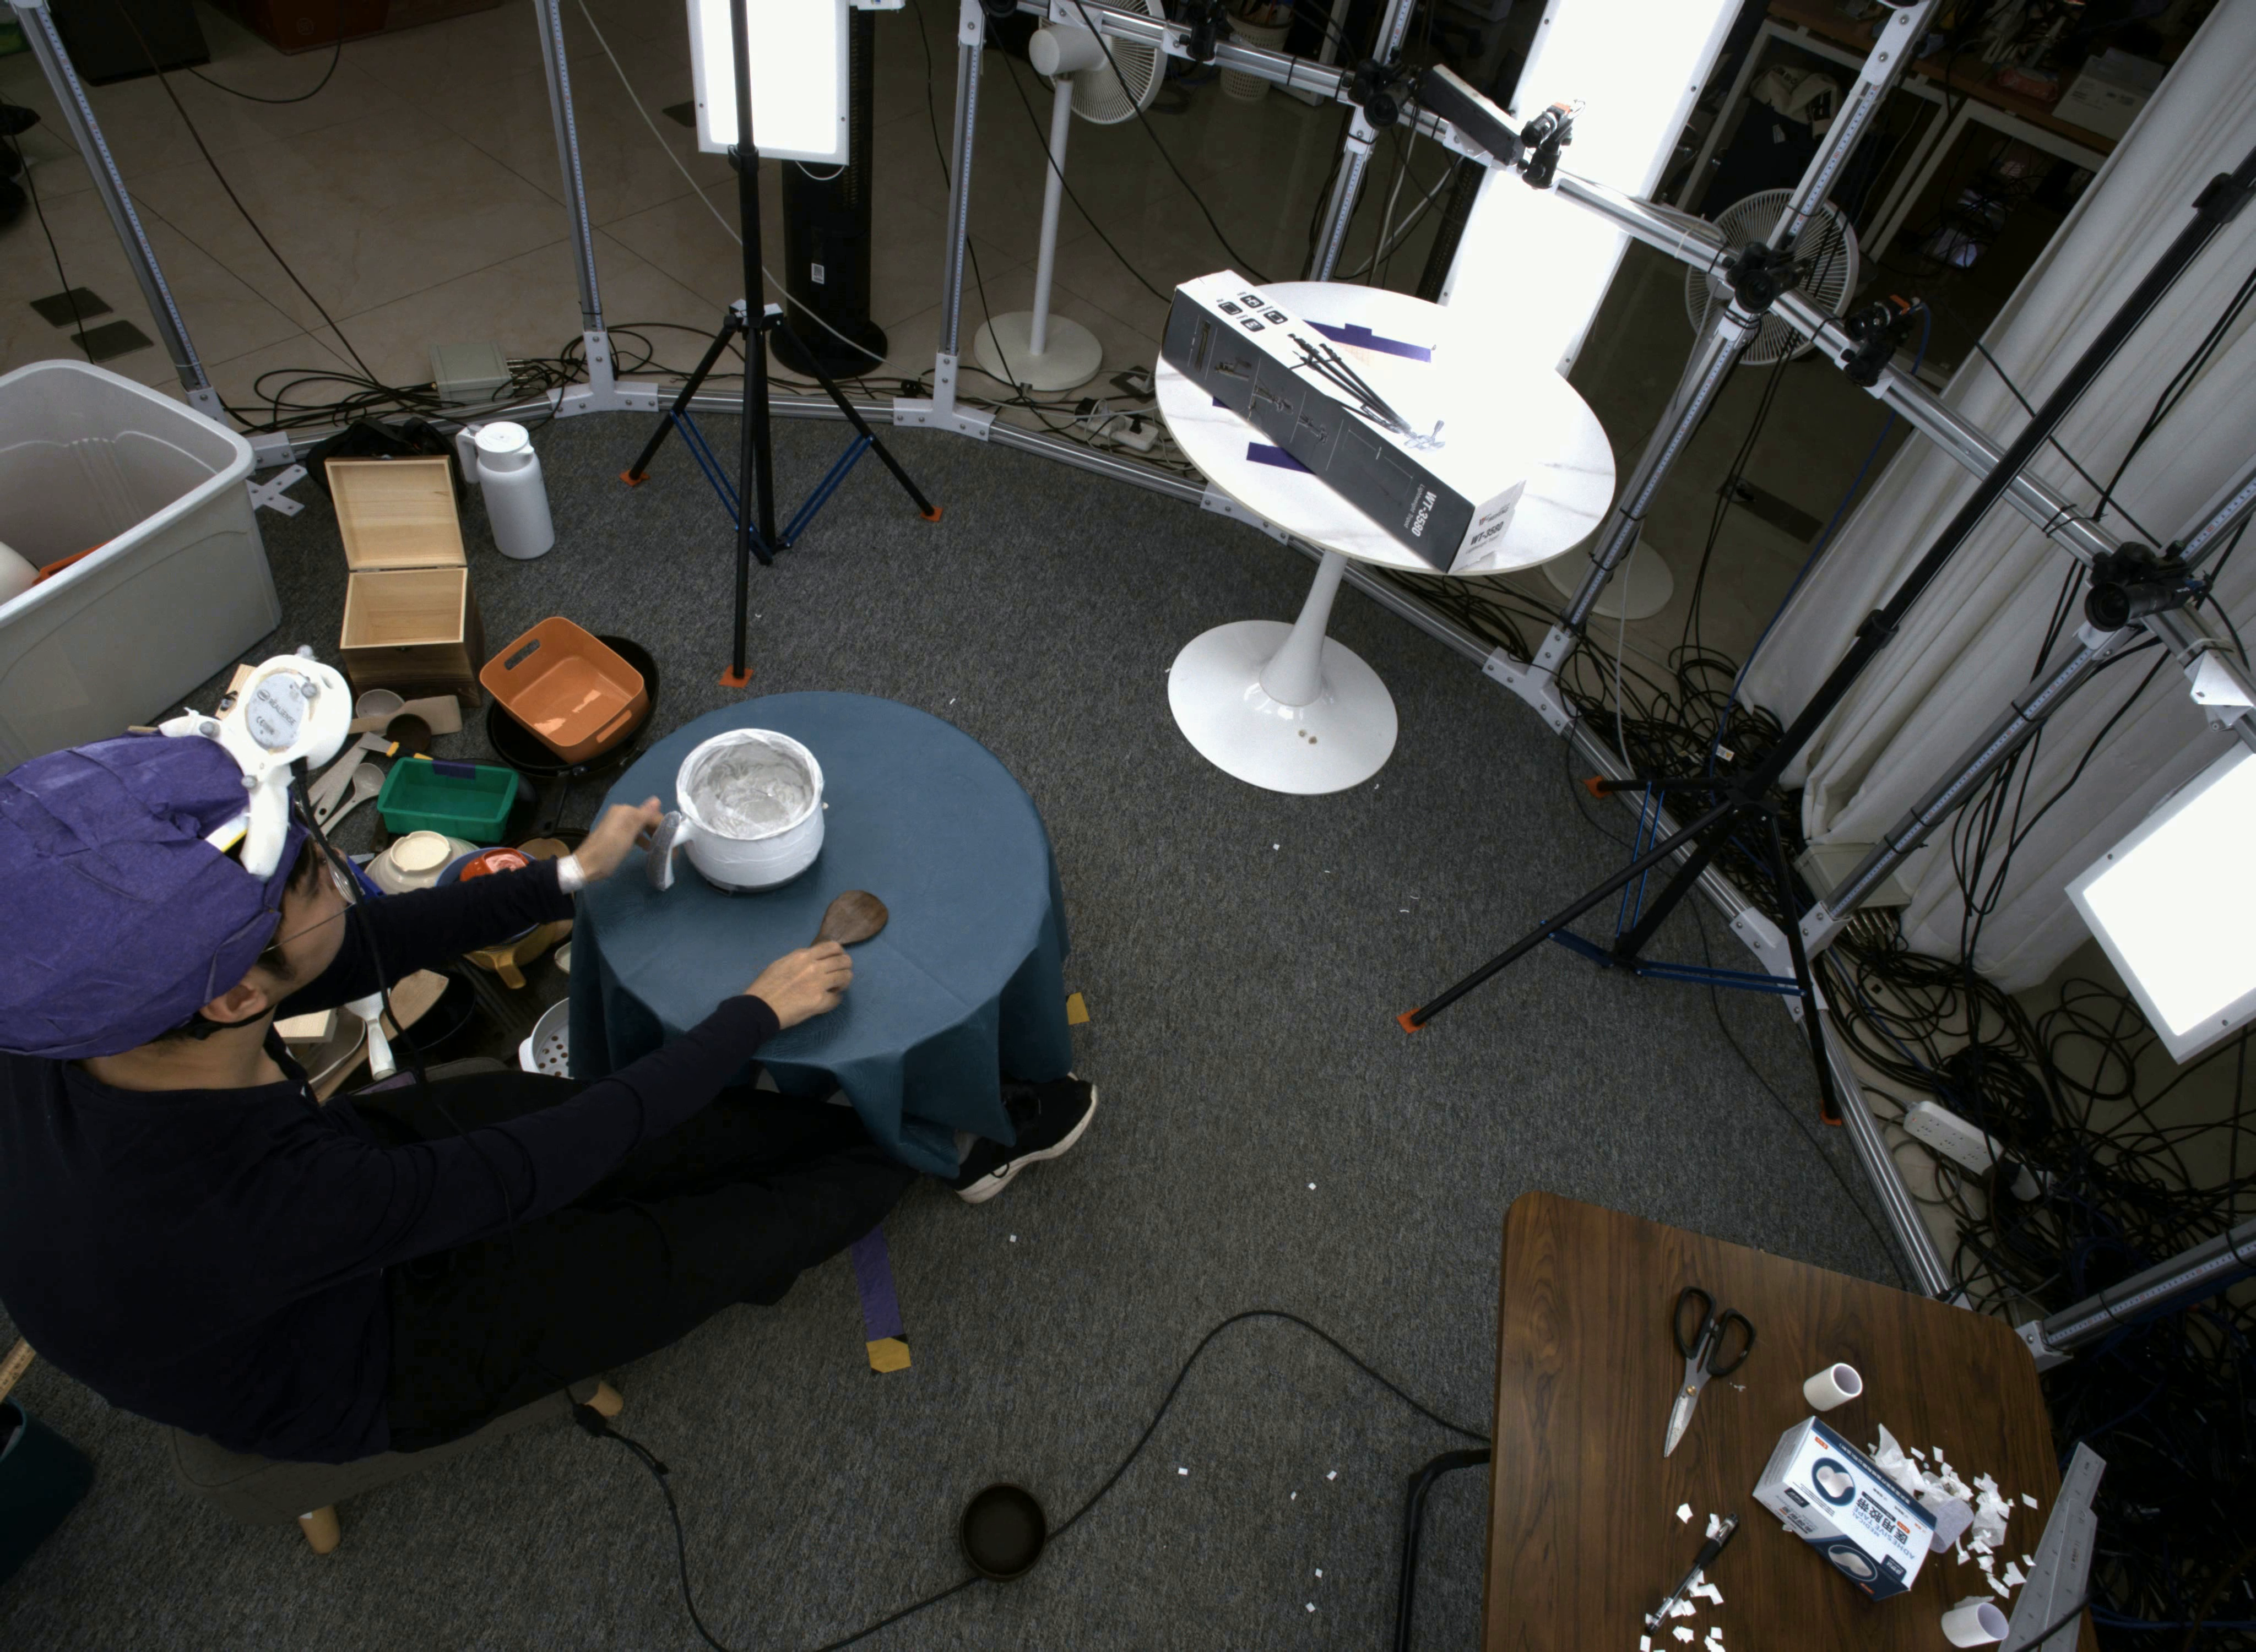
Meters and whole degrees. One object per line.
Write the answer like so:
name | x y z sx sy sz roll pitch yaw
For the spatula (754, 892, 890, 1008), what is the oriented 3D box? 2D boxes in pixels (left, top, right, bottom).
spatula | -0.389 0.153 1.628 0.070 0.009 0.216 36 55 15

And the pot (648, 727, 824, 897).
pot | -0.498 -0.006 1.630 0.234 0.140 0.174 -30 62 -32
